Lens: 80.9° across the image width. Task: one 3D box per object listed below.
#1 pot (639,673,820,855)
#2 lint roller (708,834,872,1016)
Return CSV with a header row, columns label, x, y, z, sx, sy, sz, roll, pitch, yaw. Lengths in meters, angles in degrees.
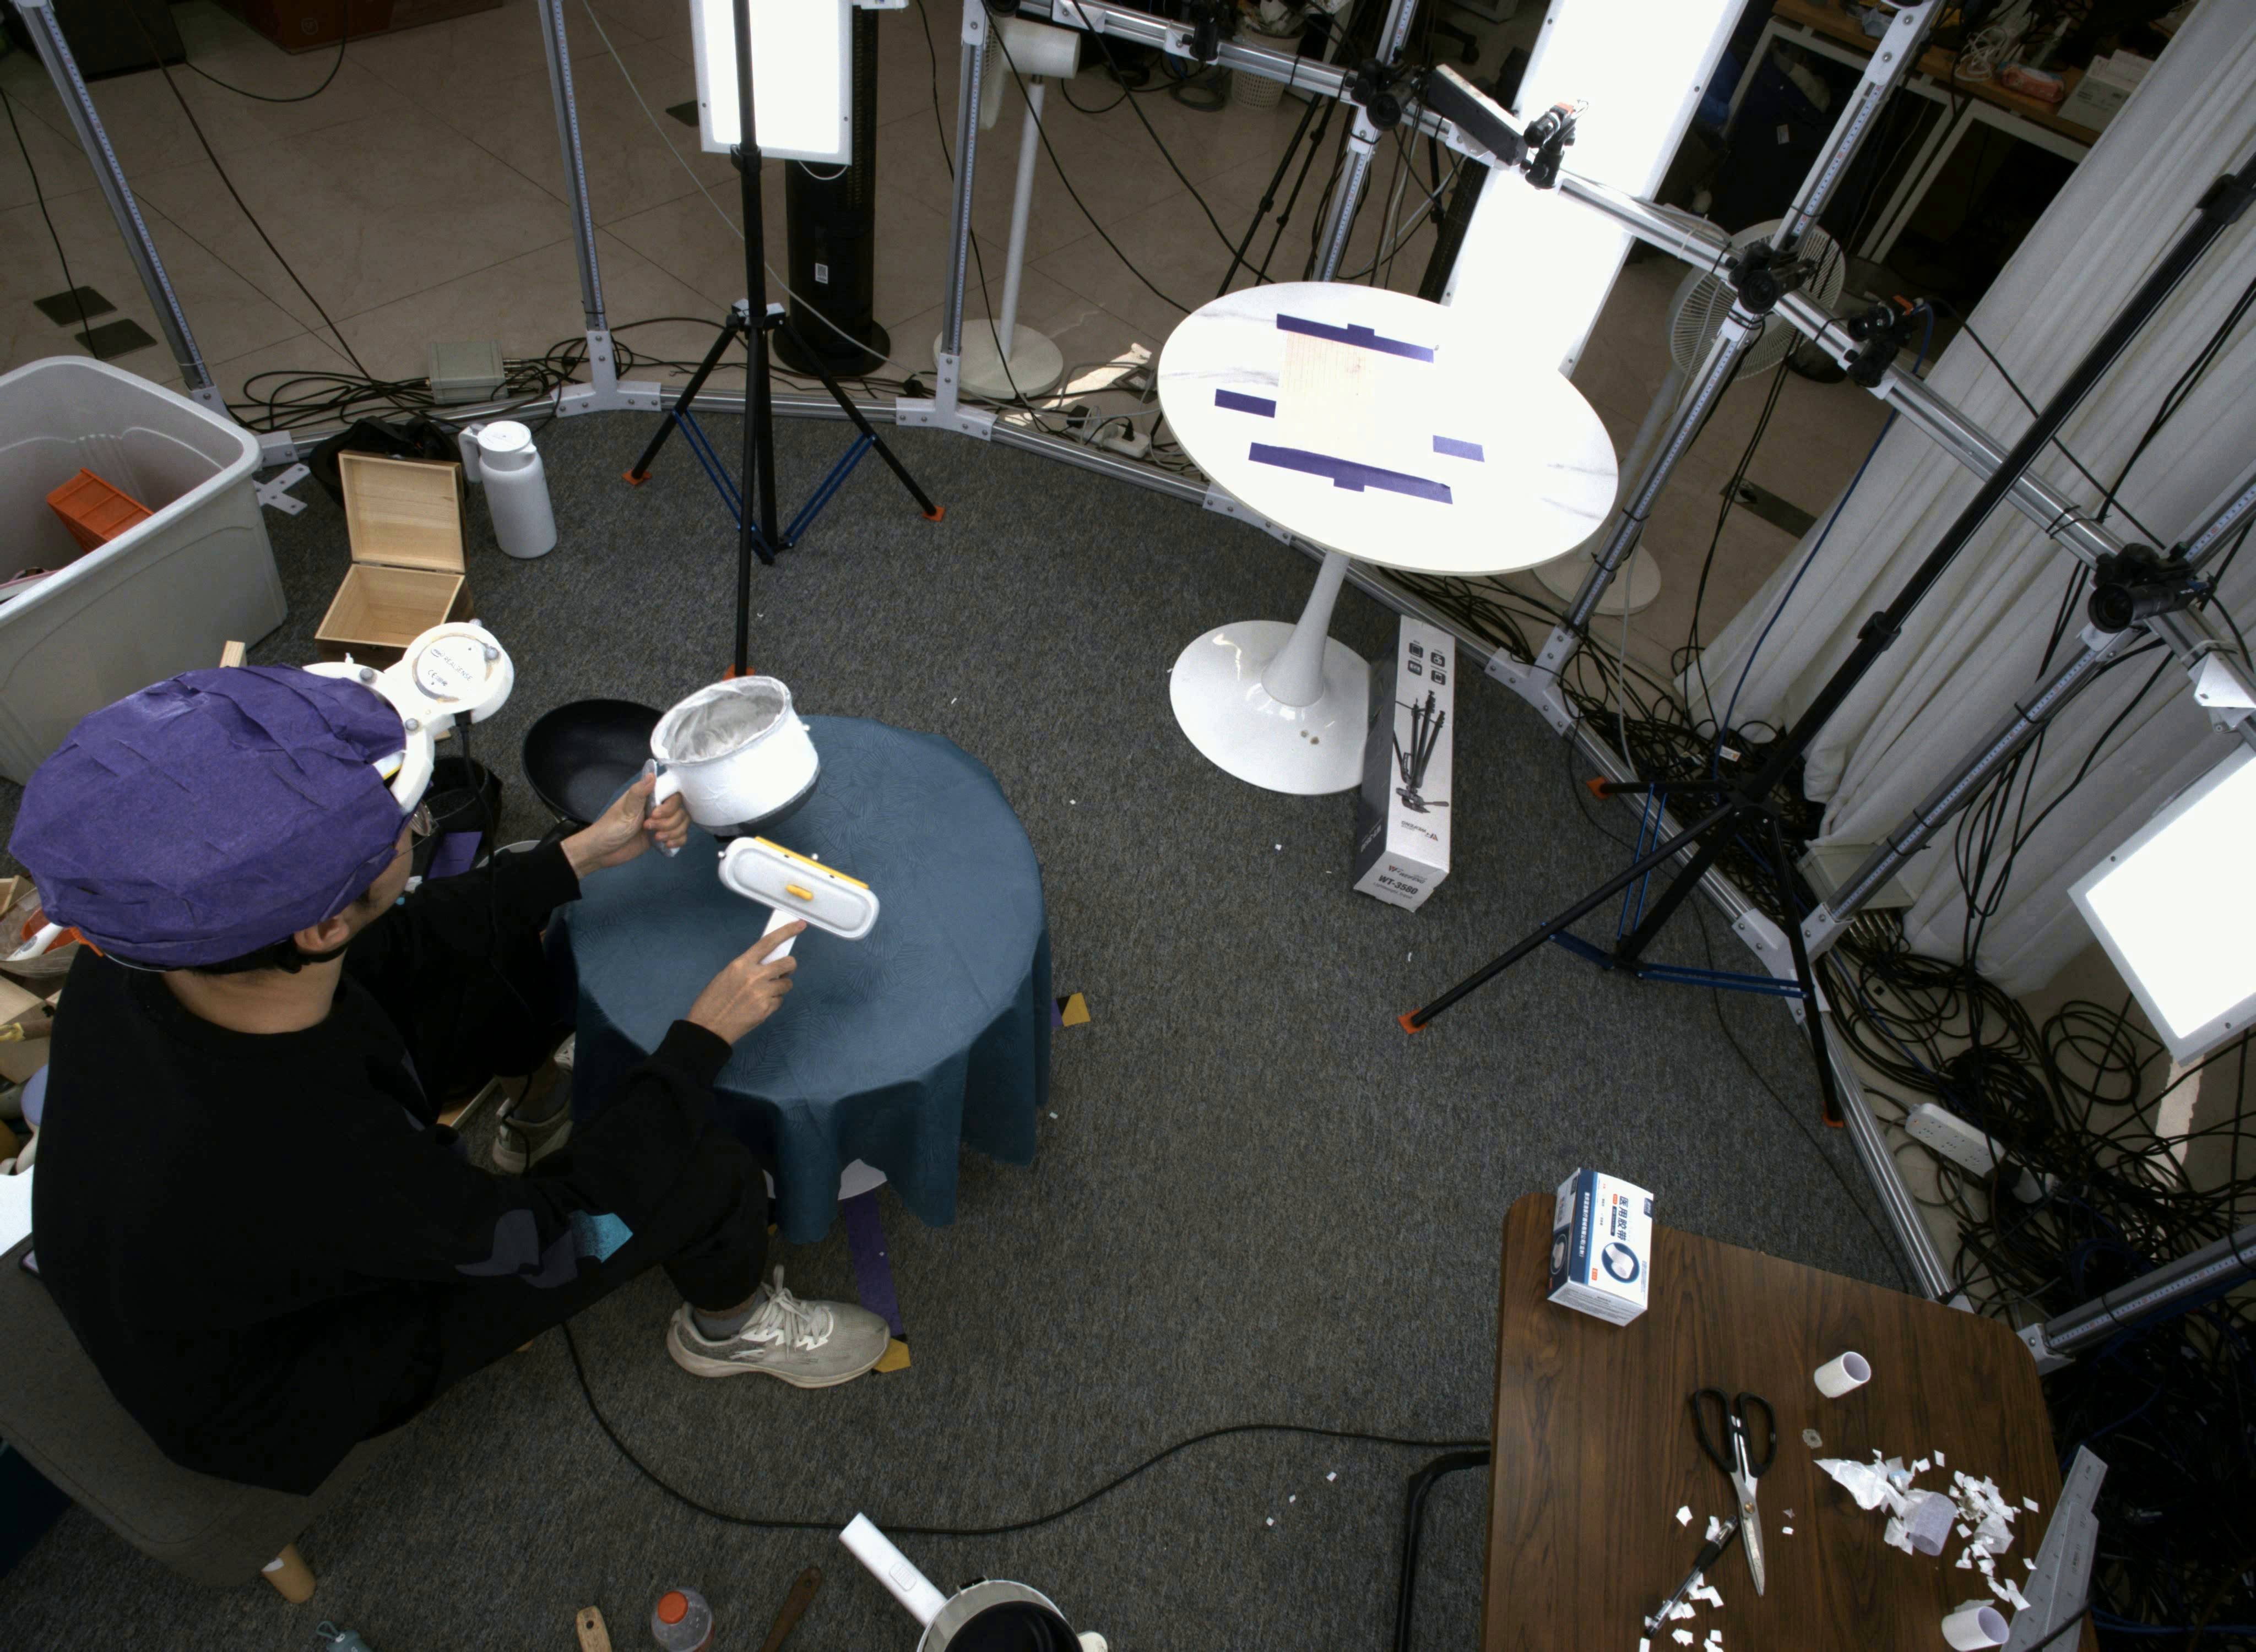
label,x,y,z,sx,sy,sz,roll,pitch,yaw
pot,-0.498,-0.070,1.577,0.172,0.142,0.234,20,49,41
lint roller,-0.411,0.123,1.510,0.196,0.072,0.193,22,78,-22
